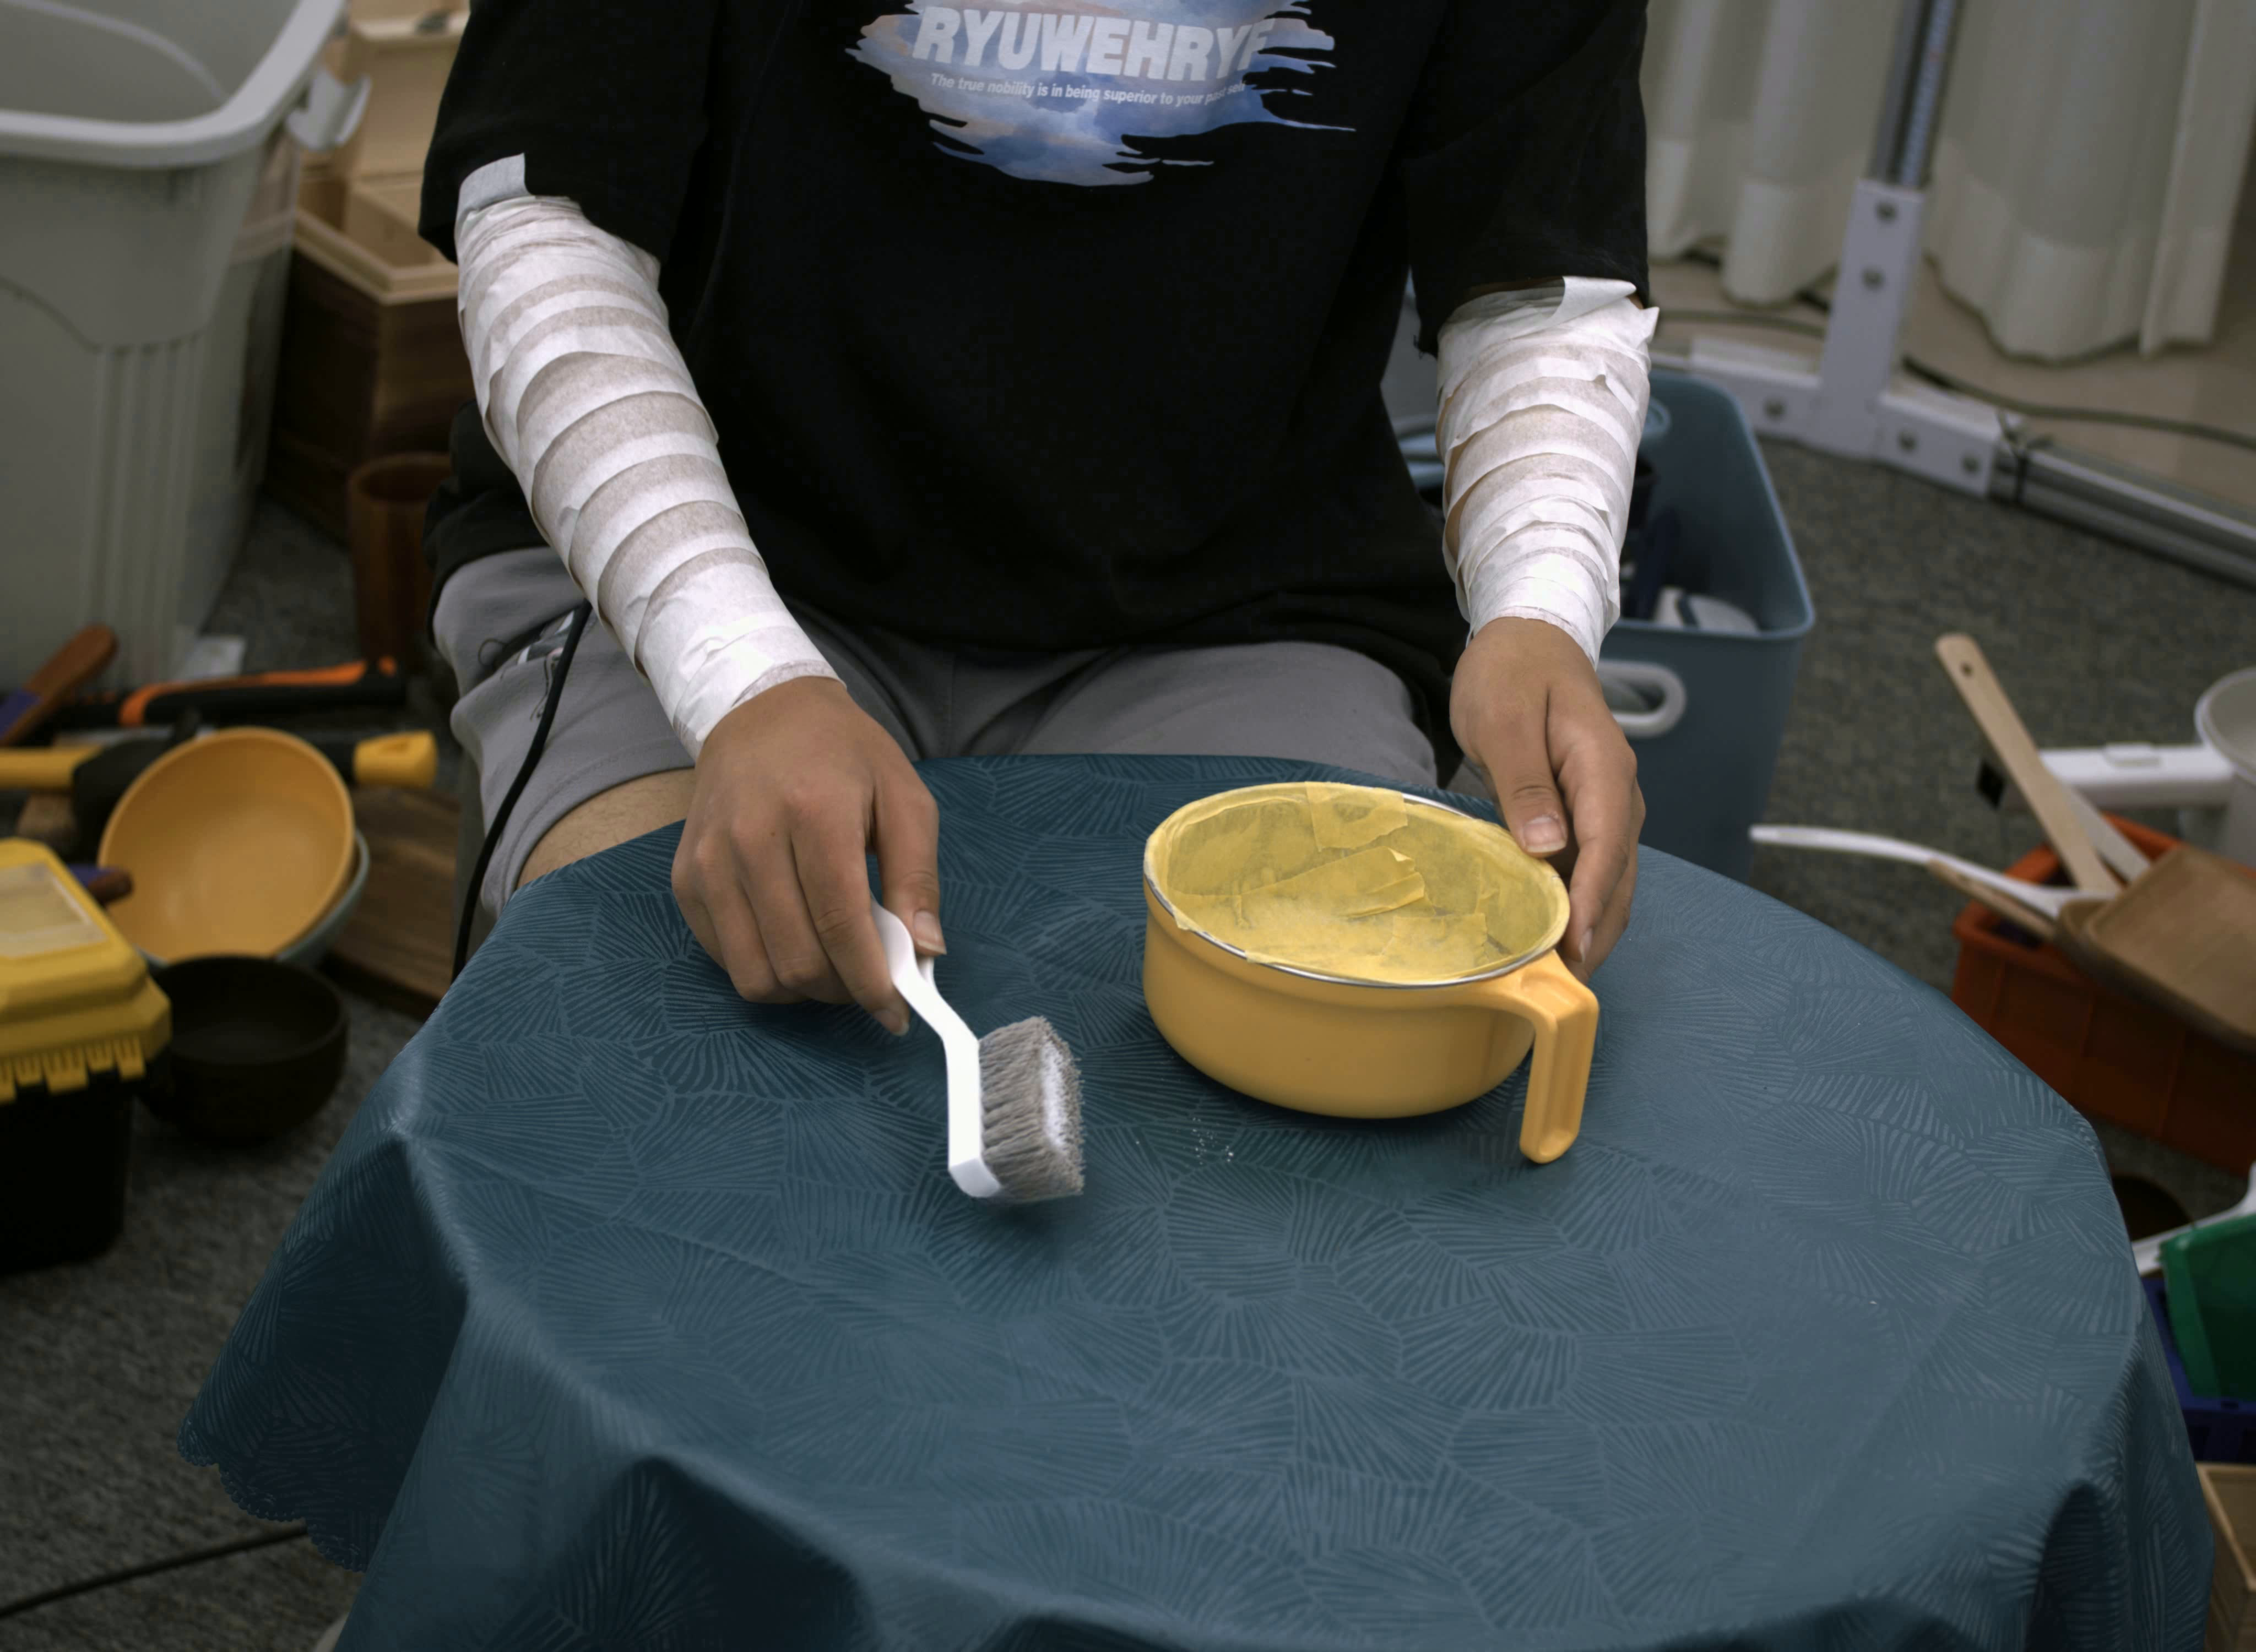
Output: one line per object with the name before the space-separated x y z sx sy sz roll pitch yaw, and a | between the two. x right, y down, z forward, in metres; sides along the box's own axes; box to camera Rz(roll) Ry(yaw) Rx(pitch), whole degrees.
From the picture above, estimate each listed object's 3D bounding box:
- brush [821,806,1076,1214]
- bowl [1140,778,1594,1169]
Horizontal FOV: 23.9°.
brush | -0.062 0.051 1.853 0.050 0.034 0.246 -37 35 8
bowl | 0.086 0.052 1.888 0.180 0.074 0.152 27 28 33
